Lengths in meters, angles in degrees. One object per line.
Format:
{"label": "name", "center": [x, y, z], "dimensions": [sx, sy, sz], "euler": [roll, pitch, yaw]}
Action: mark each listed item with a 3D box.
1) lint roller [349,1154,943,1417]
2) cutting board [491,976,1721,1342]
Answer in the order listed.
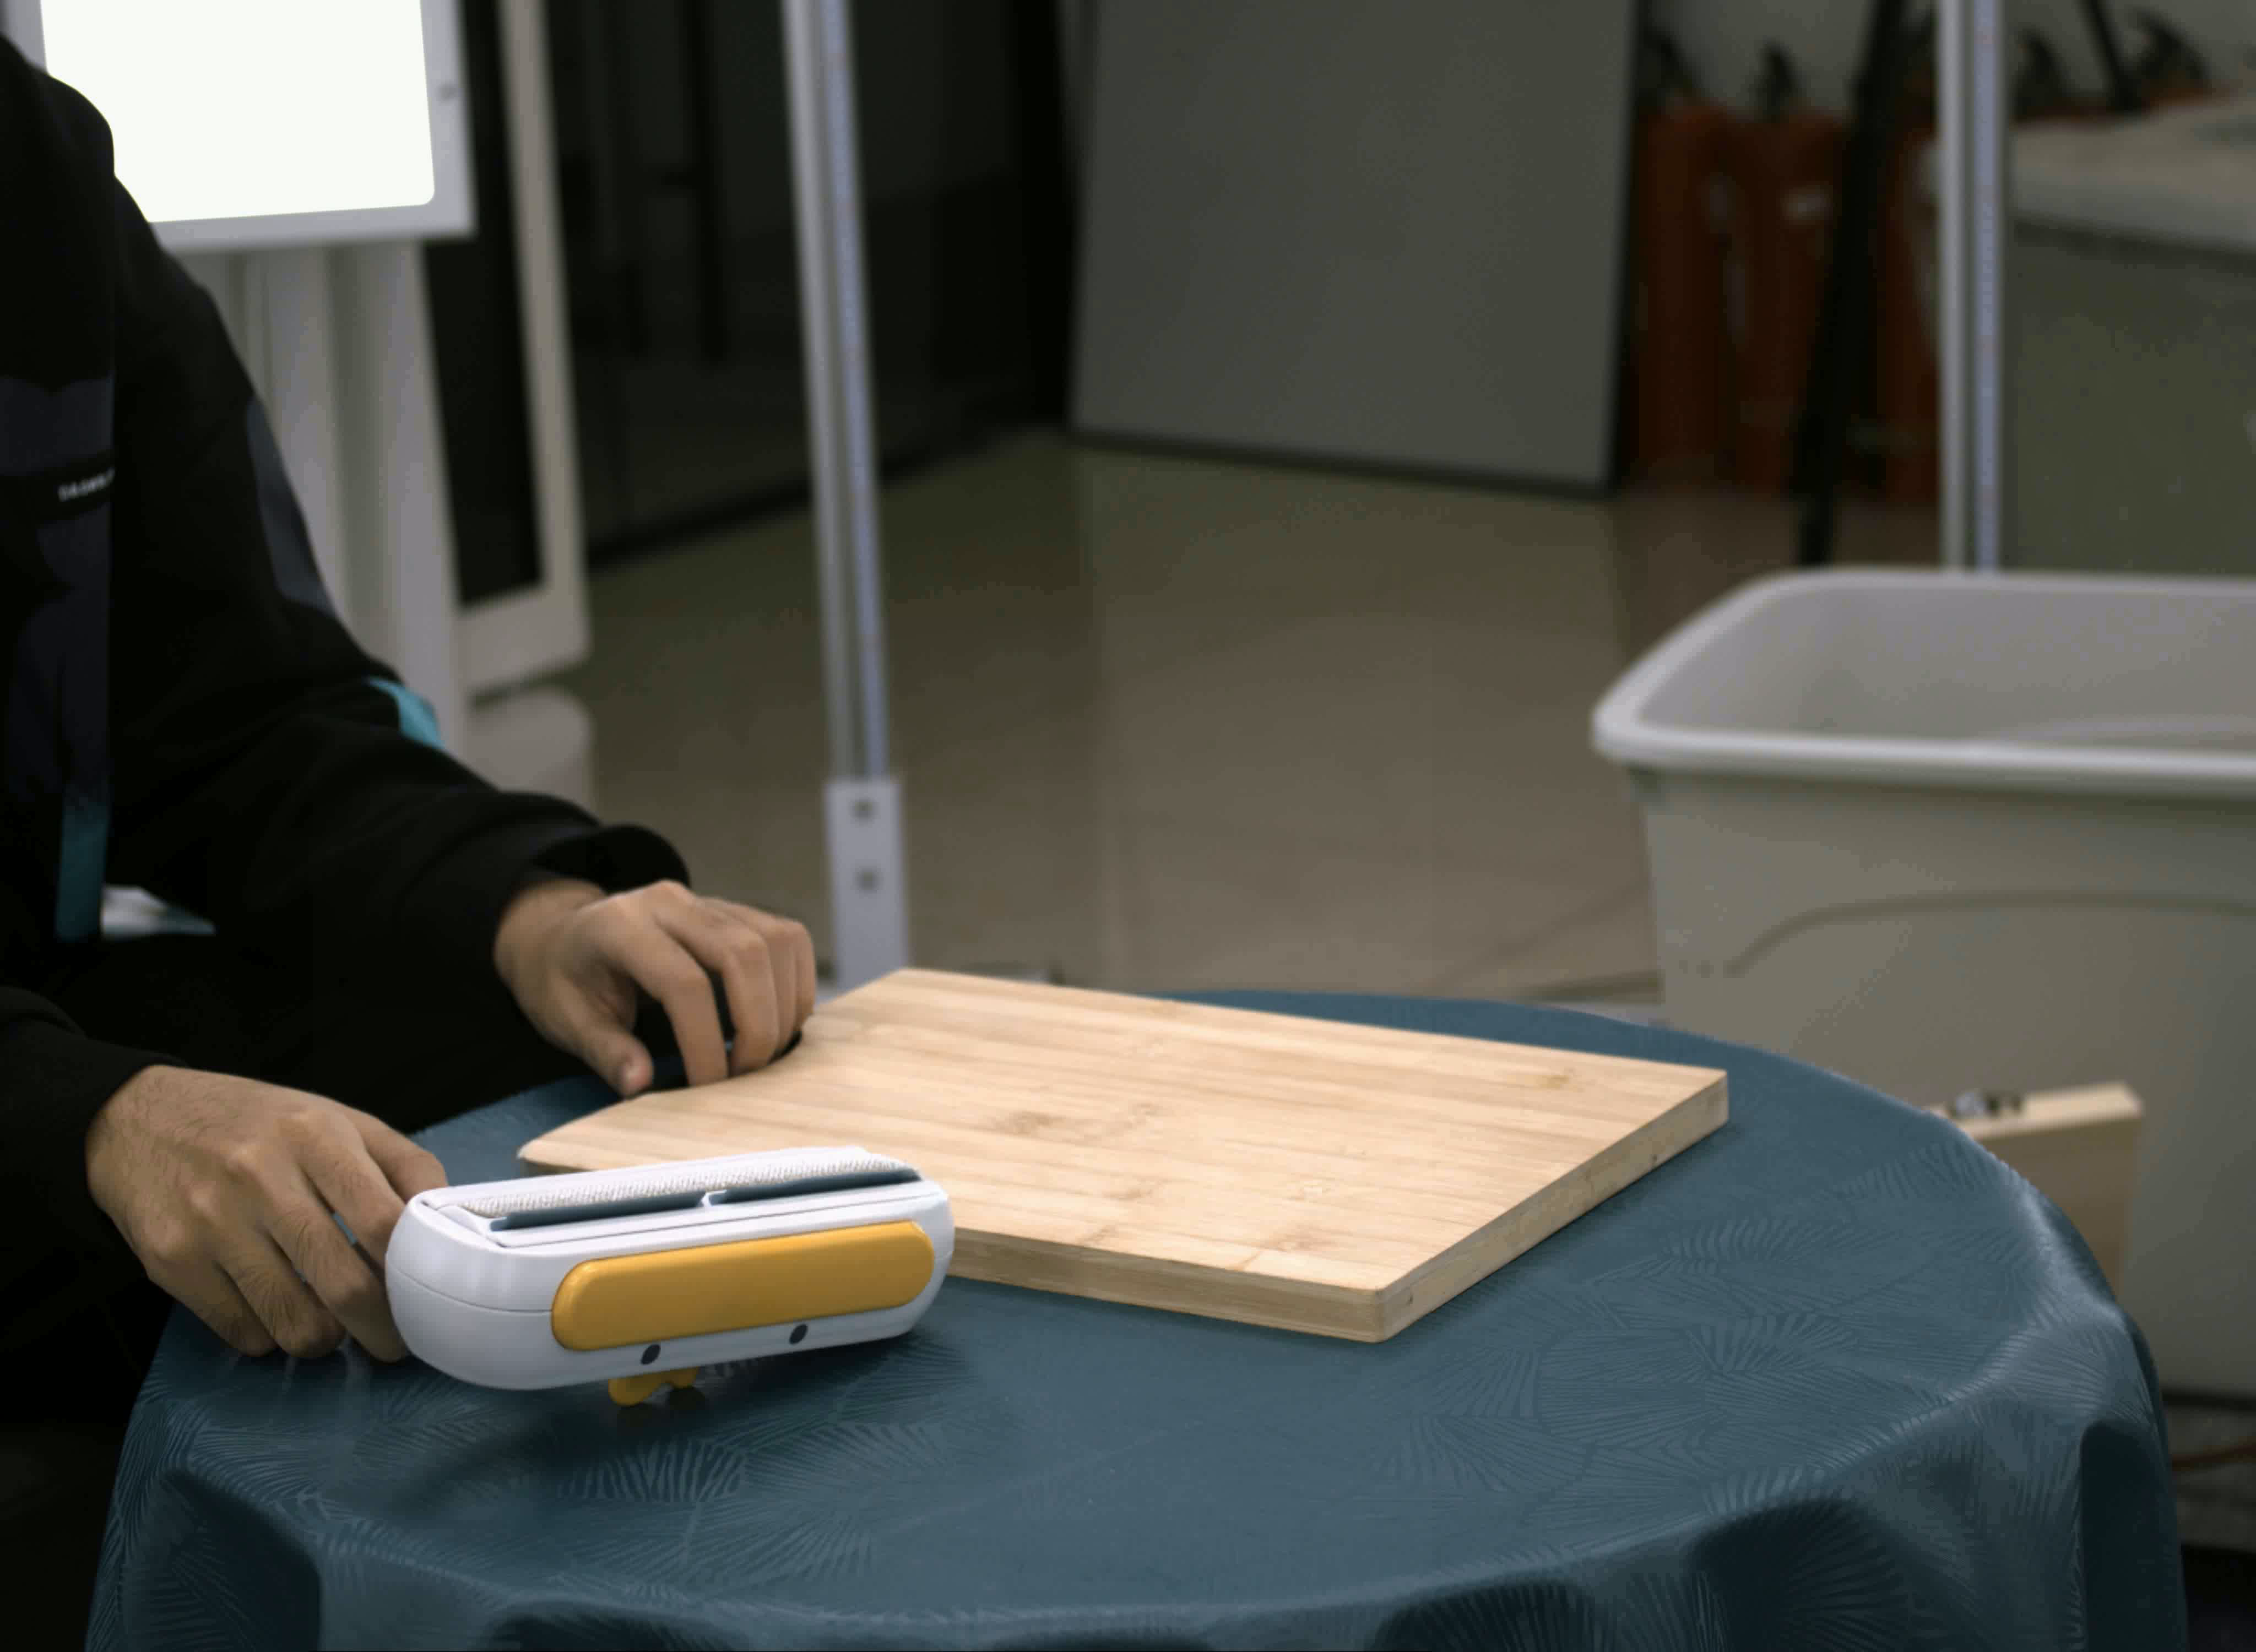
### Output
{"label": "lint roller", "center": [-0.176, 0.131, 1.644], "dimensions": [0.188, 0.075, 0.194], "euler": [-8, 12, -39]}
{"label": "cutting board", "center": [-0.007, 0.106, 1.803], "dimensions": [0.350, 0.024, 0.246], "euler": [5, 16, 33]}
